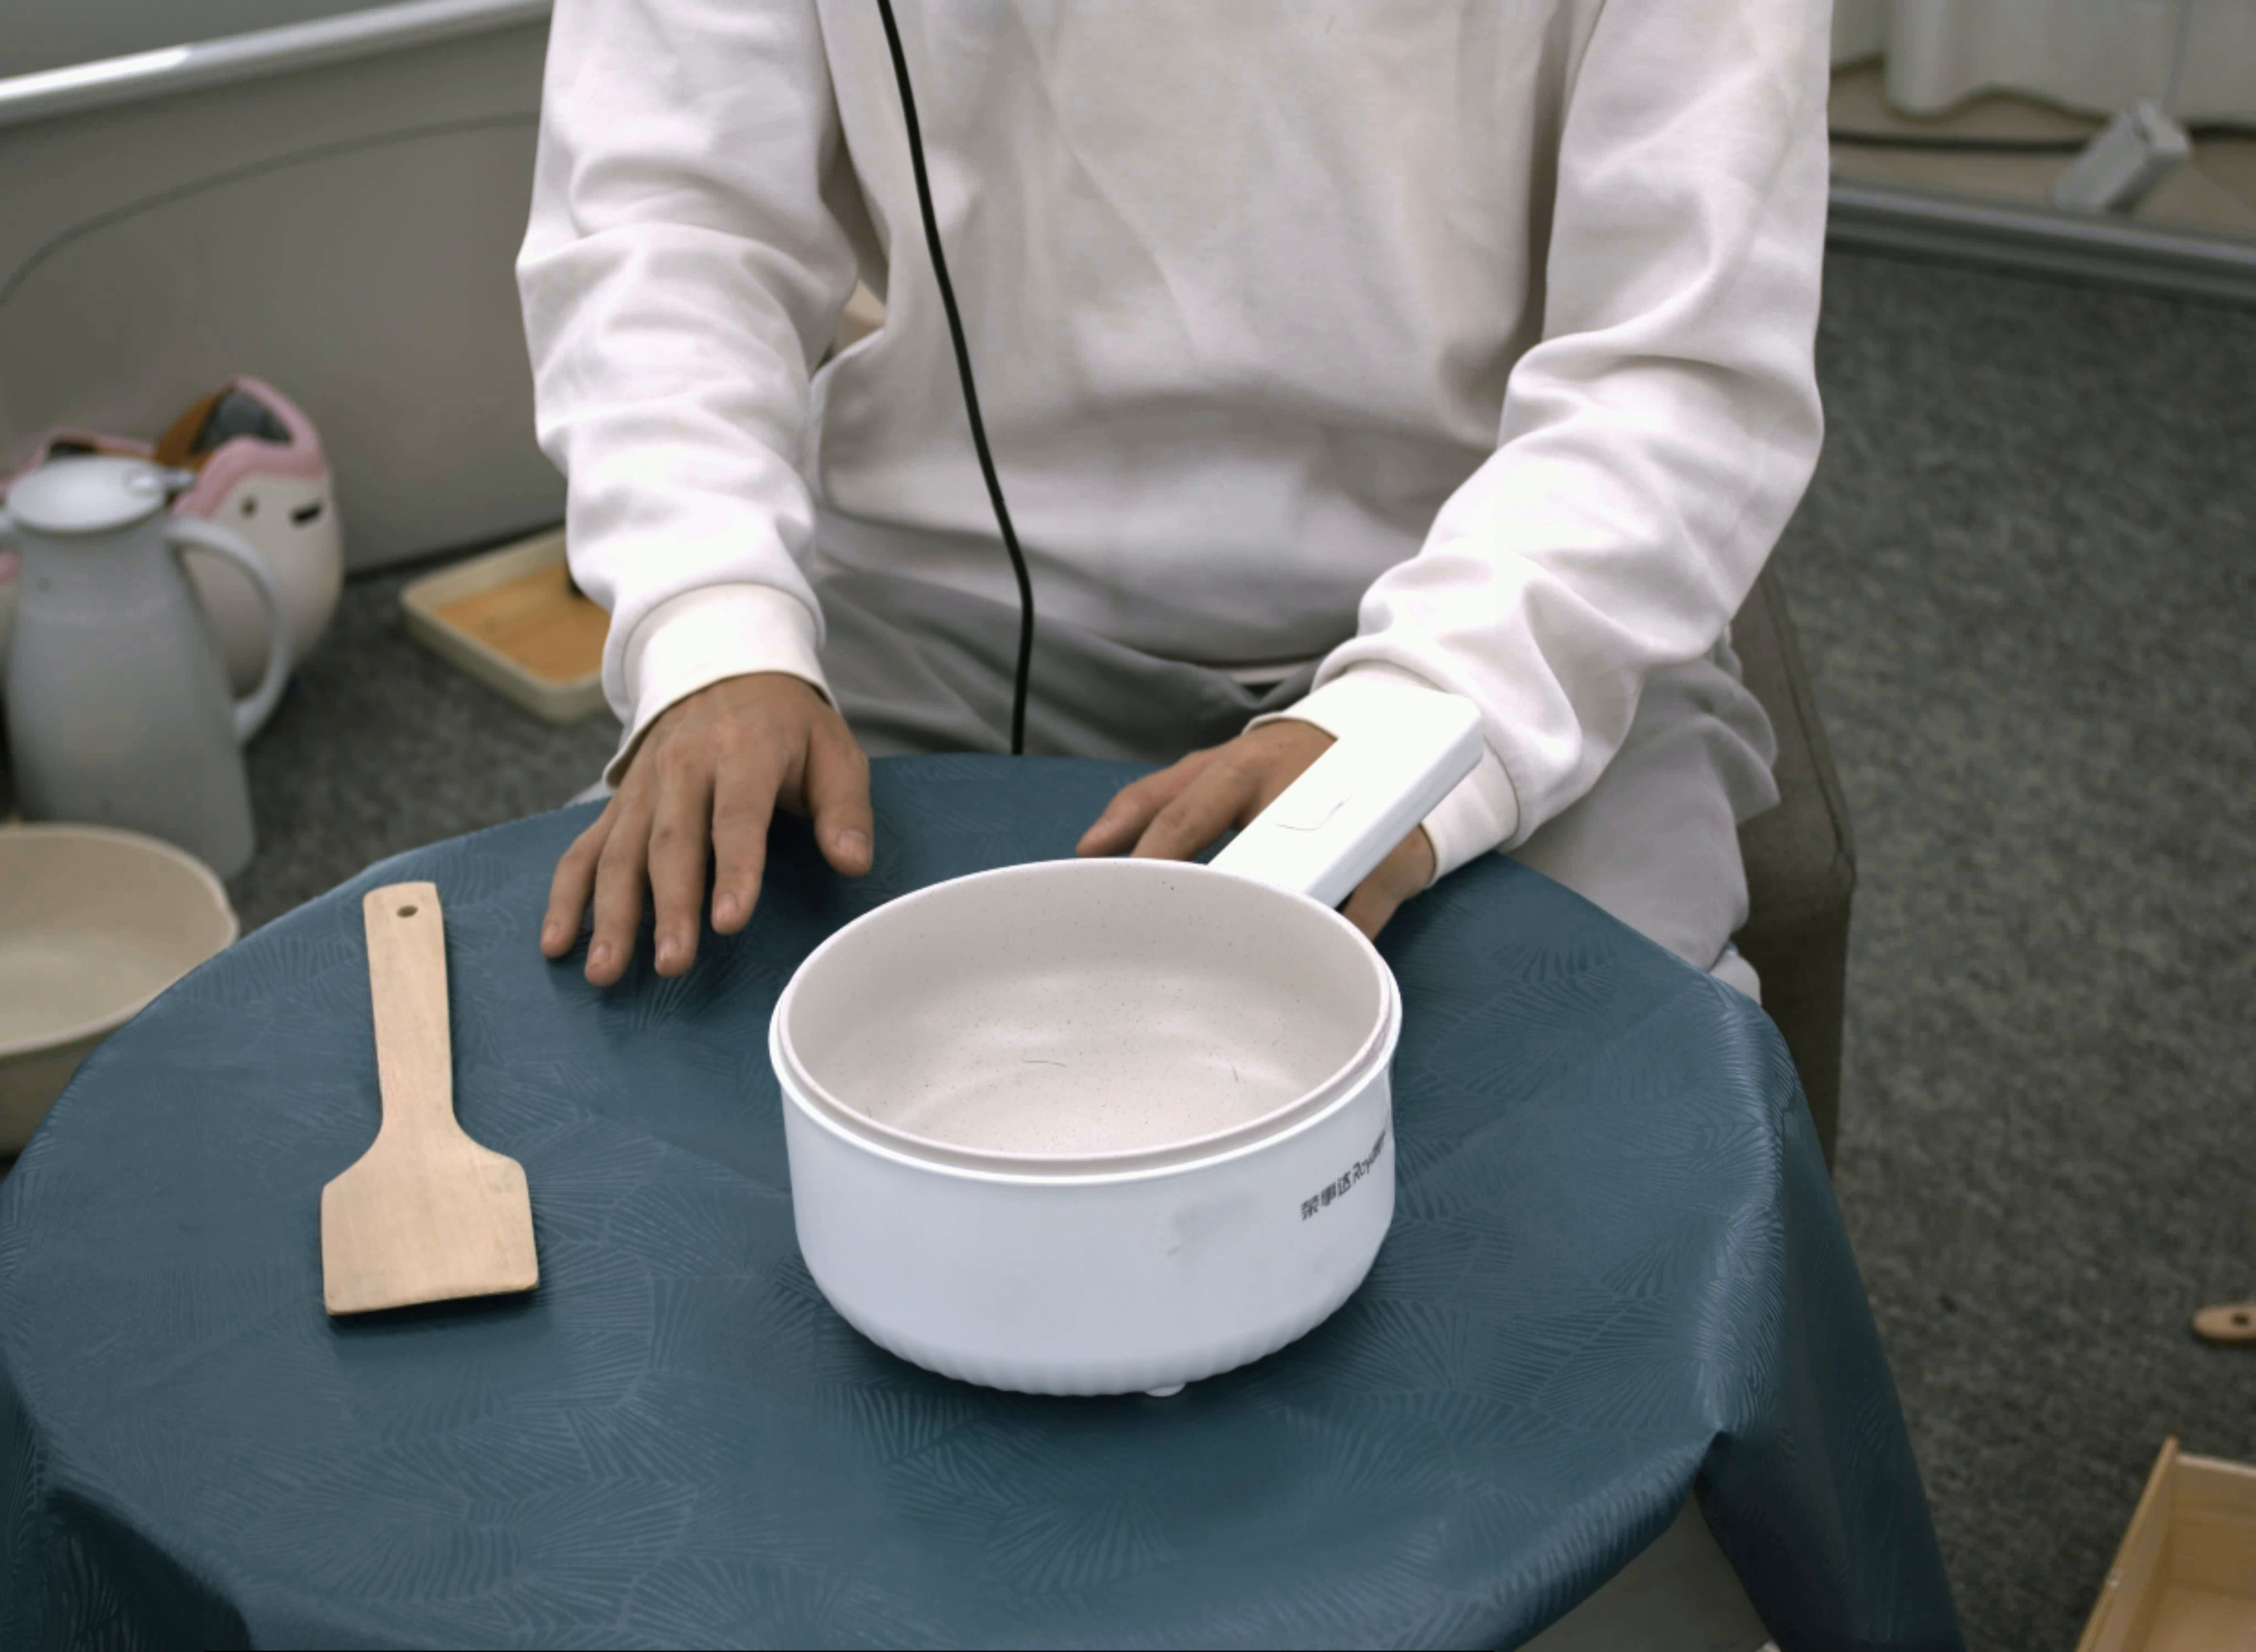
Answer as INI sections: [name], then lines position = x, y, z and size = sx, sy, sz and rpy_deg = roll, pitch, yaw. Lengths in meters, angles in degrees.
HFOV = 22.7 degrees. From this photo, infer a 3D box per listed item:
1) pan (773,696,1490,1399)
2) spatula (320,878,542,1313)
[pan]
position = 0.026, 0.070, 1.861
size = 0.200, 0.101, 0.360
rpy_deg = 10, 29, 26
[spatula]
position = -0.245, 0.089, 1.939
size = 0.072, 0.010, 0.297
rpy_deg = -7, 28, -6
